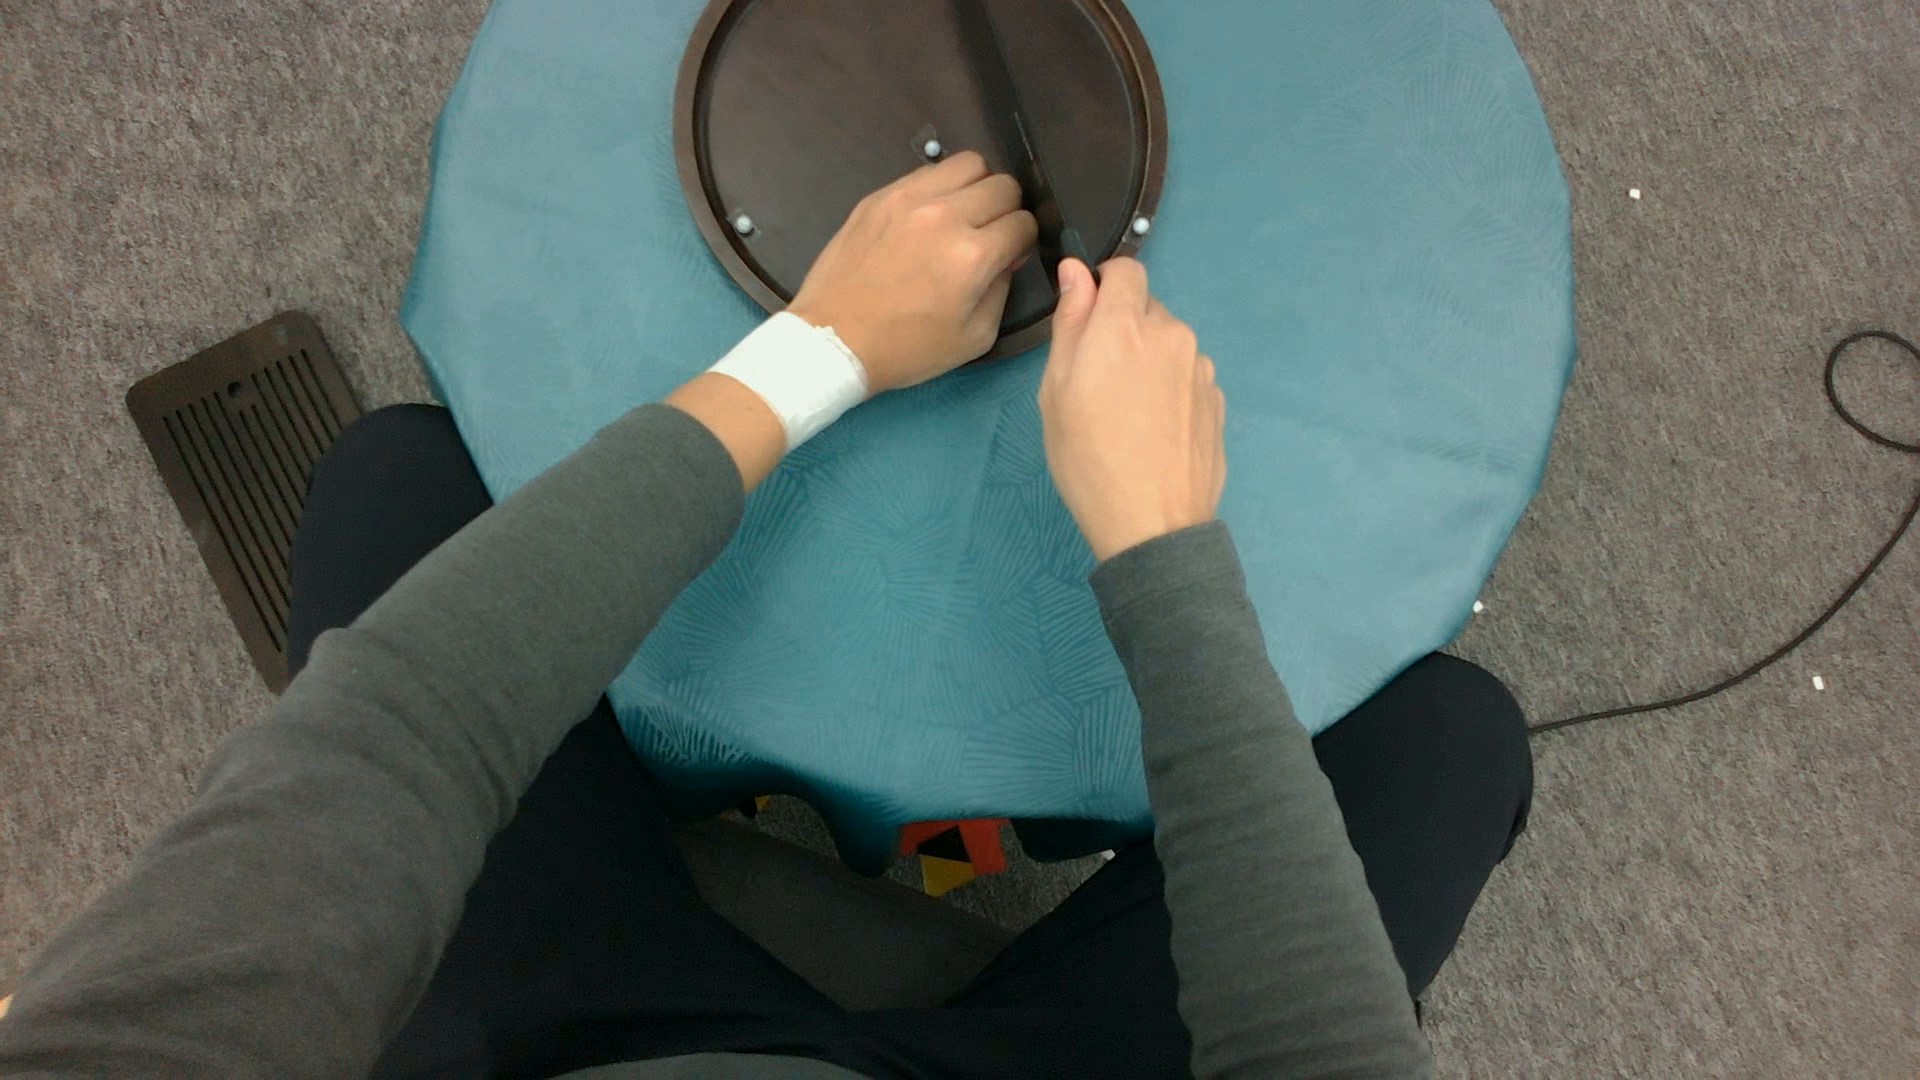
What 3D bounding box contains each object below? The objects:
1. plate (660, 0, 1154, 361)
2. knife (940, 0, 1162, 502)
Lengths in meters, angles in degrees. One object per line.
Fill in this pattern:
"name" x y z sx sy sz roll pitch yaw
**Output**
"plate" -0.026 -0.214 0.712 0.255 0.029 0.255 1 81 -7
"knife" 0.032 -0.160 0.645 0.021 0.081 0.302 -19 79 -7
